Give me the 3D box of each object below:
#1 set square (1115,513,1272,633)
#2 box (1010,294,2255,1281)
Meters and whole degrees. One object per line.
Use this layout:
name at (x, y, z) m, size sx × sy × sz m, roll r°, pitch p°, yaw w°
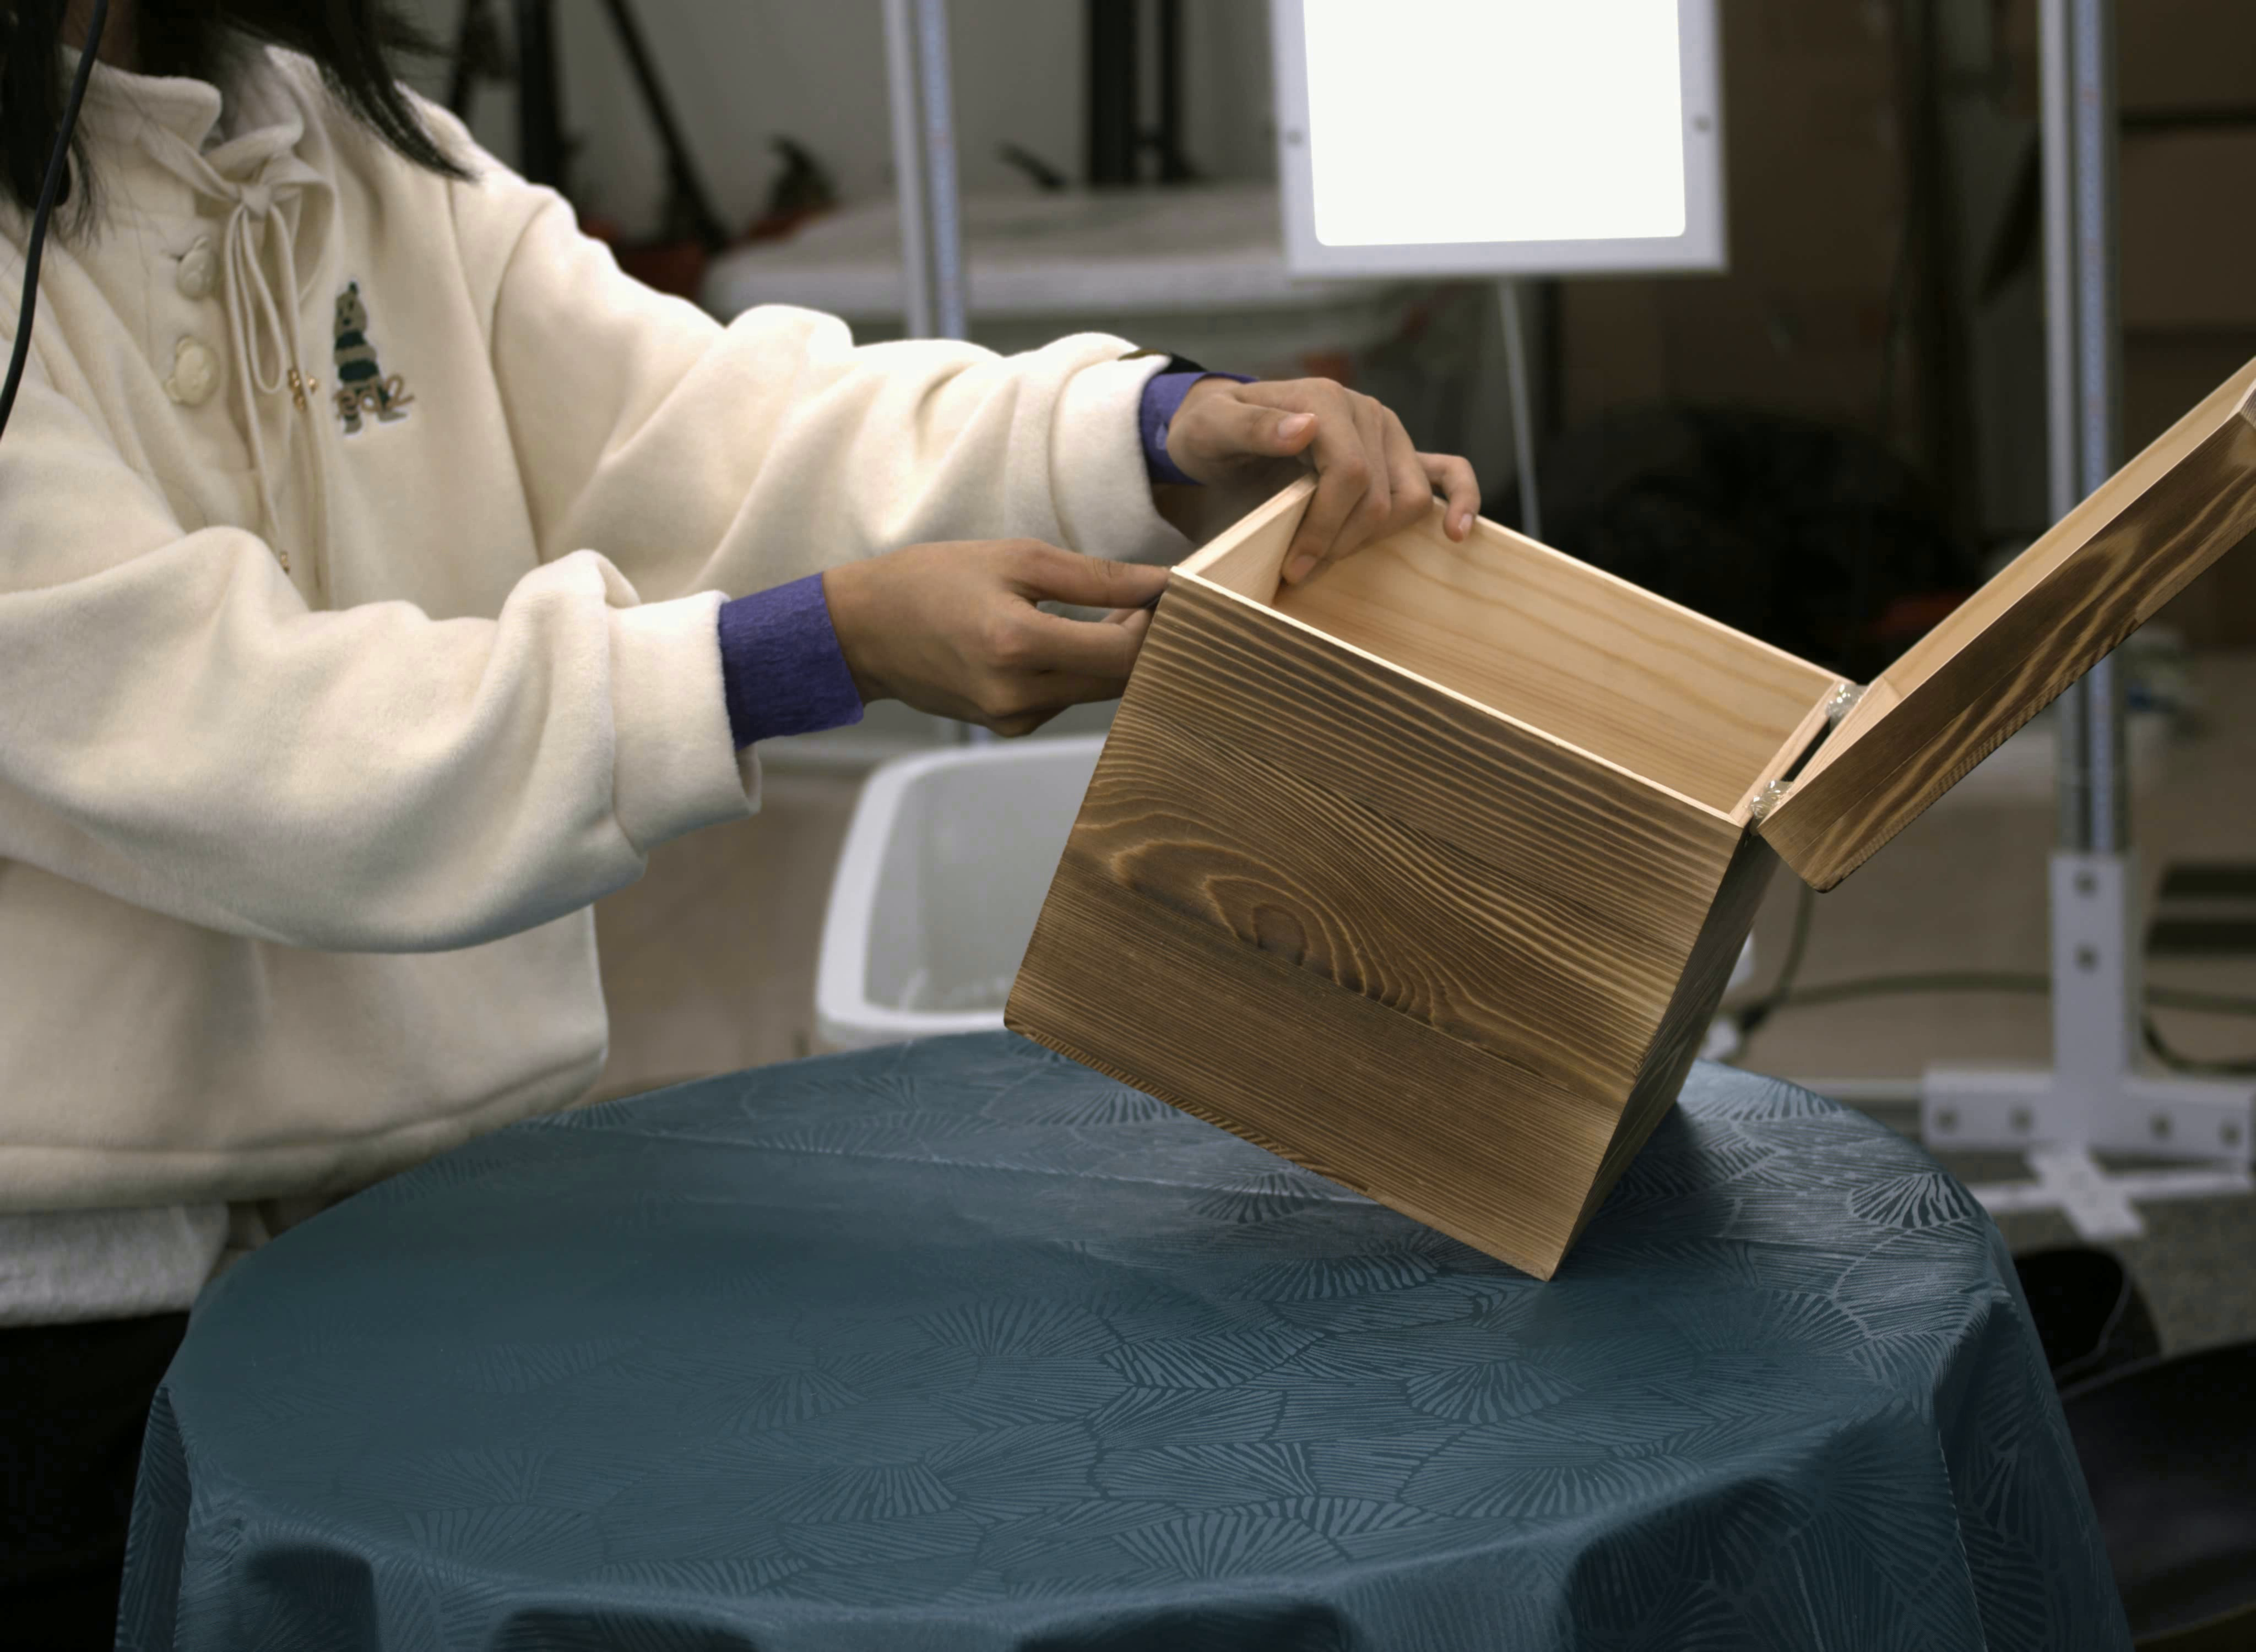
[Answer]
set square at (0.006, -0.075, 1.843) m, size 0.062 × 0.006 × 0.129 m, roll -35°, pitch 2°, yaw 28°
box at (0.183, -0.055, 1.804) m, size 0.324 × 0.379 × 0.205 m, roll 25°, pitch 21°, yaw 12°
